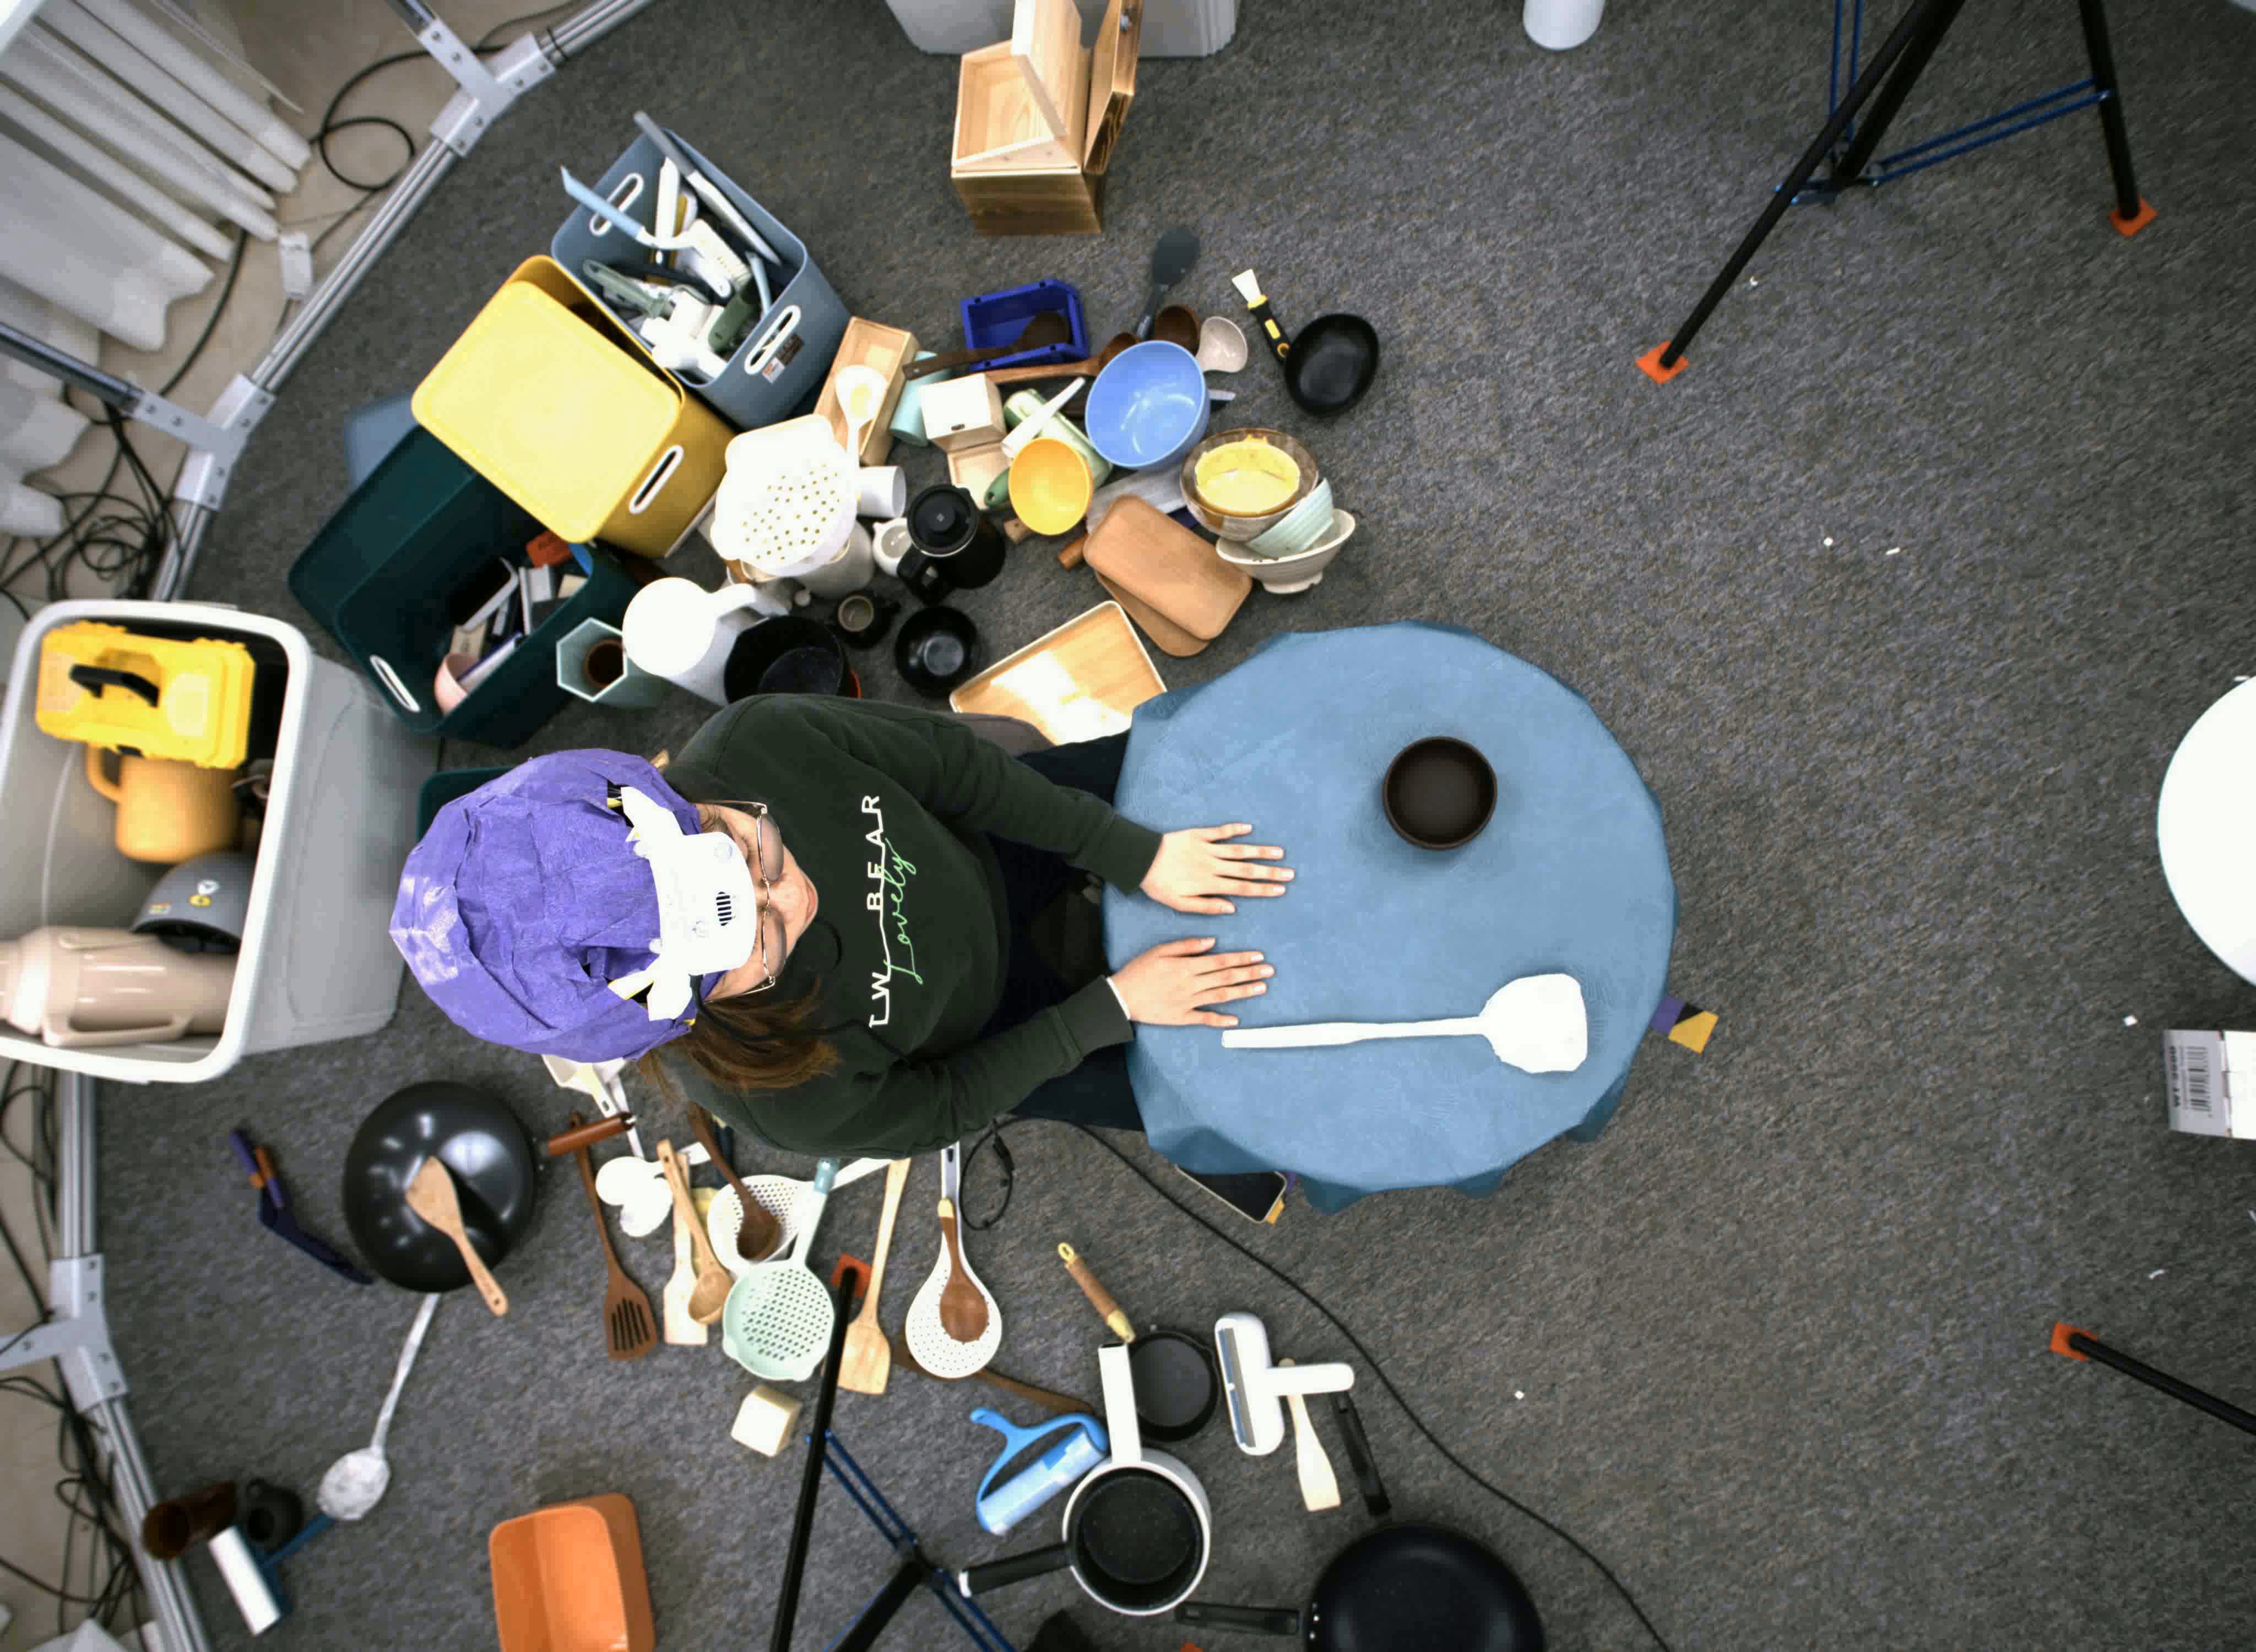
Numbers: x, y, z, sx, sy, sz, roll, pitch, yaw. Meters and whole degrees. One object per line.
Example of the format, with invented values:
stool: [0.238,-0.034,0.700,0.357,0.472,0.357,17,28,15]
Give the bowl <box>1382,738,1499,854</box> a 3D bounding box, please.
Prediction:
bowl: [0.323,-0.030,1.426,0.118,0.070,0.117,-1,83,11]

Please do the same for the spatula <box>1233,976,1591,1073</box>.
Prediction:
spatula: [0.289,0.208,1.432,0.366,0.045,0.098,-3,87,10]
